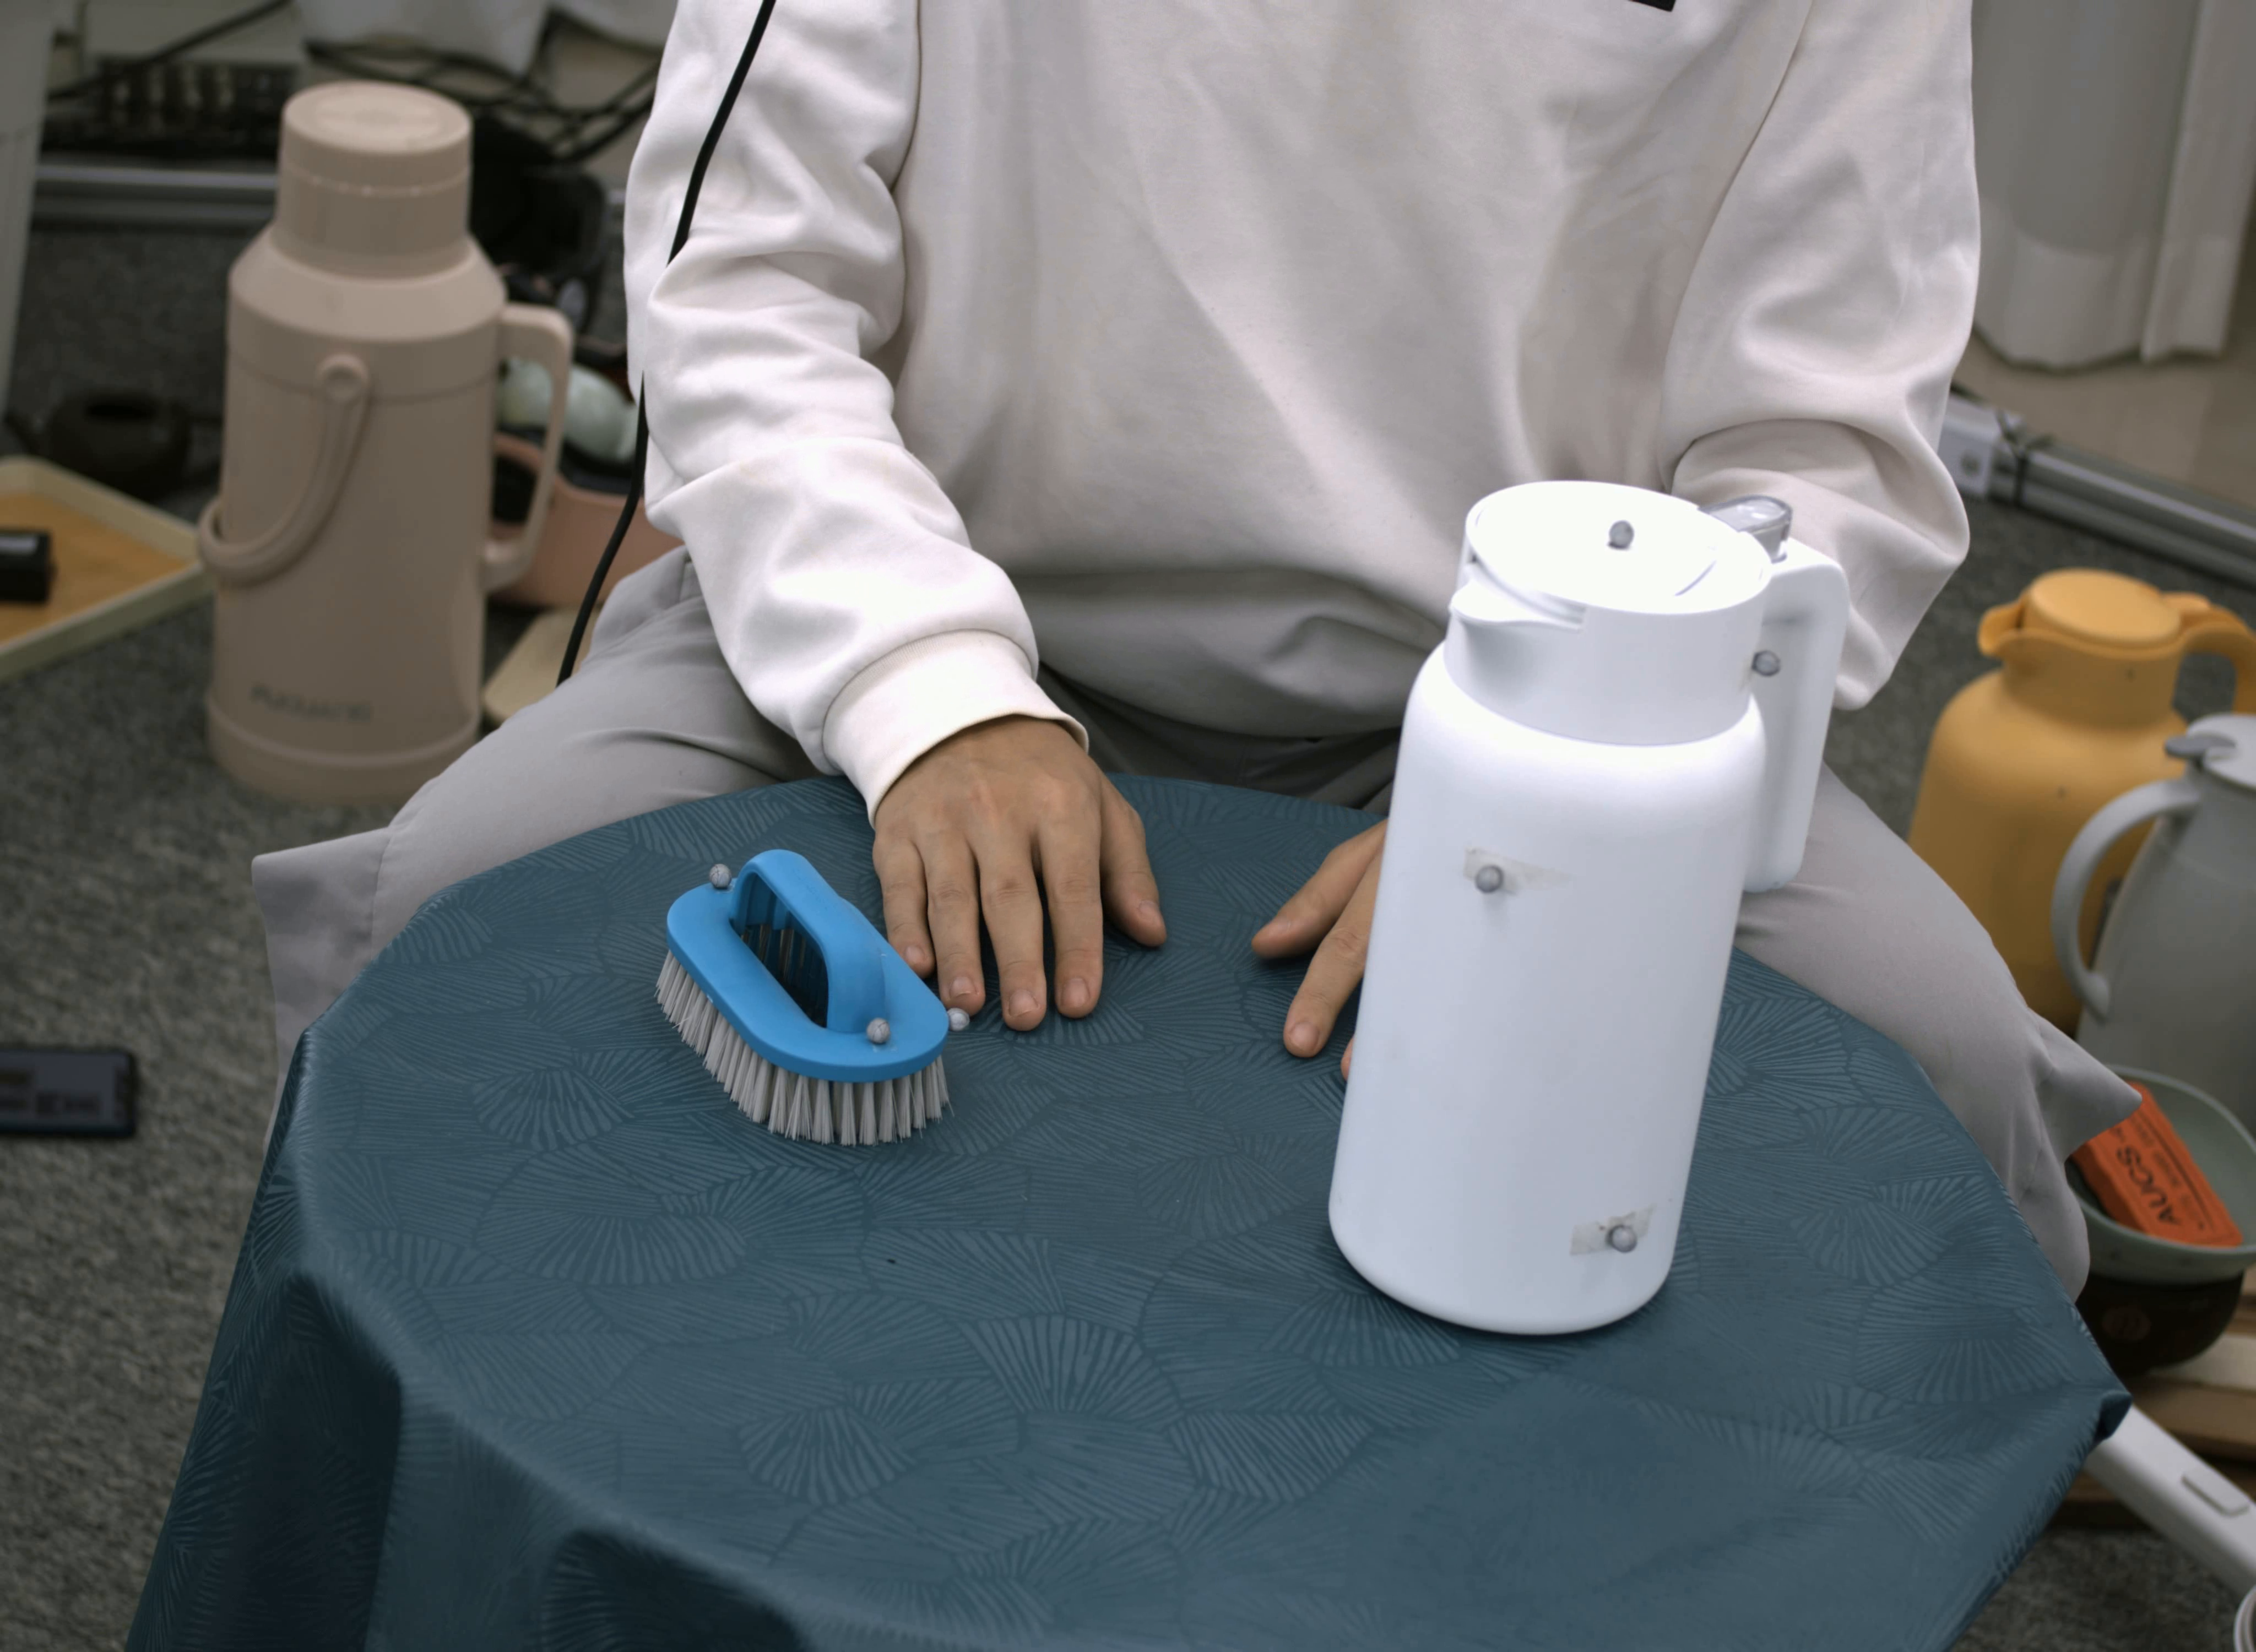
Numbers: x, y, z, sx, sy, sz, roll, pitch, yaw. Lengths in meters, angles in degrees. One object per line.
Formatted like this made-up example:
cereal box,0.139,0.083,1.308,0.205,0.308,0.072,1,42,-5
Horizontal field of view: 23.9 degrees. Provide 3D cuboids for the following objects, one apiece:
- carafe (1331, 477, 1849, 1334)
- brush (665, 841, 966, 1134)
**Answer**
carafe,0.152,0.022,1.748,0.172,0.268,0.125,-15,32,-38
brush,-0.111,0.048,1.857,0.084,0.063,0.143,-11,31,-22
